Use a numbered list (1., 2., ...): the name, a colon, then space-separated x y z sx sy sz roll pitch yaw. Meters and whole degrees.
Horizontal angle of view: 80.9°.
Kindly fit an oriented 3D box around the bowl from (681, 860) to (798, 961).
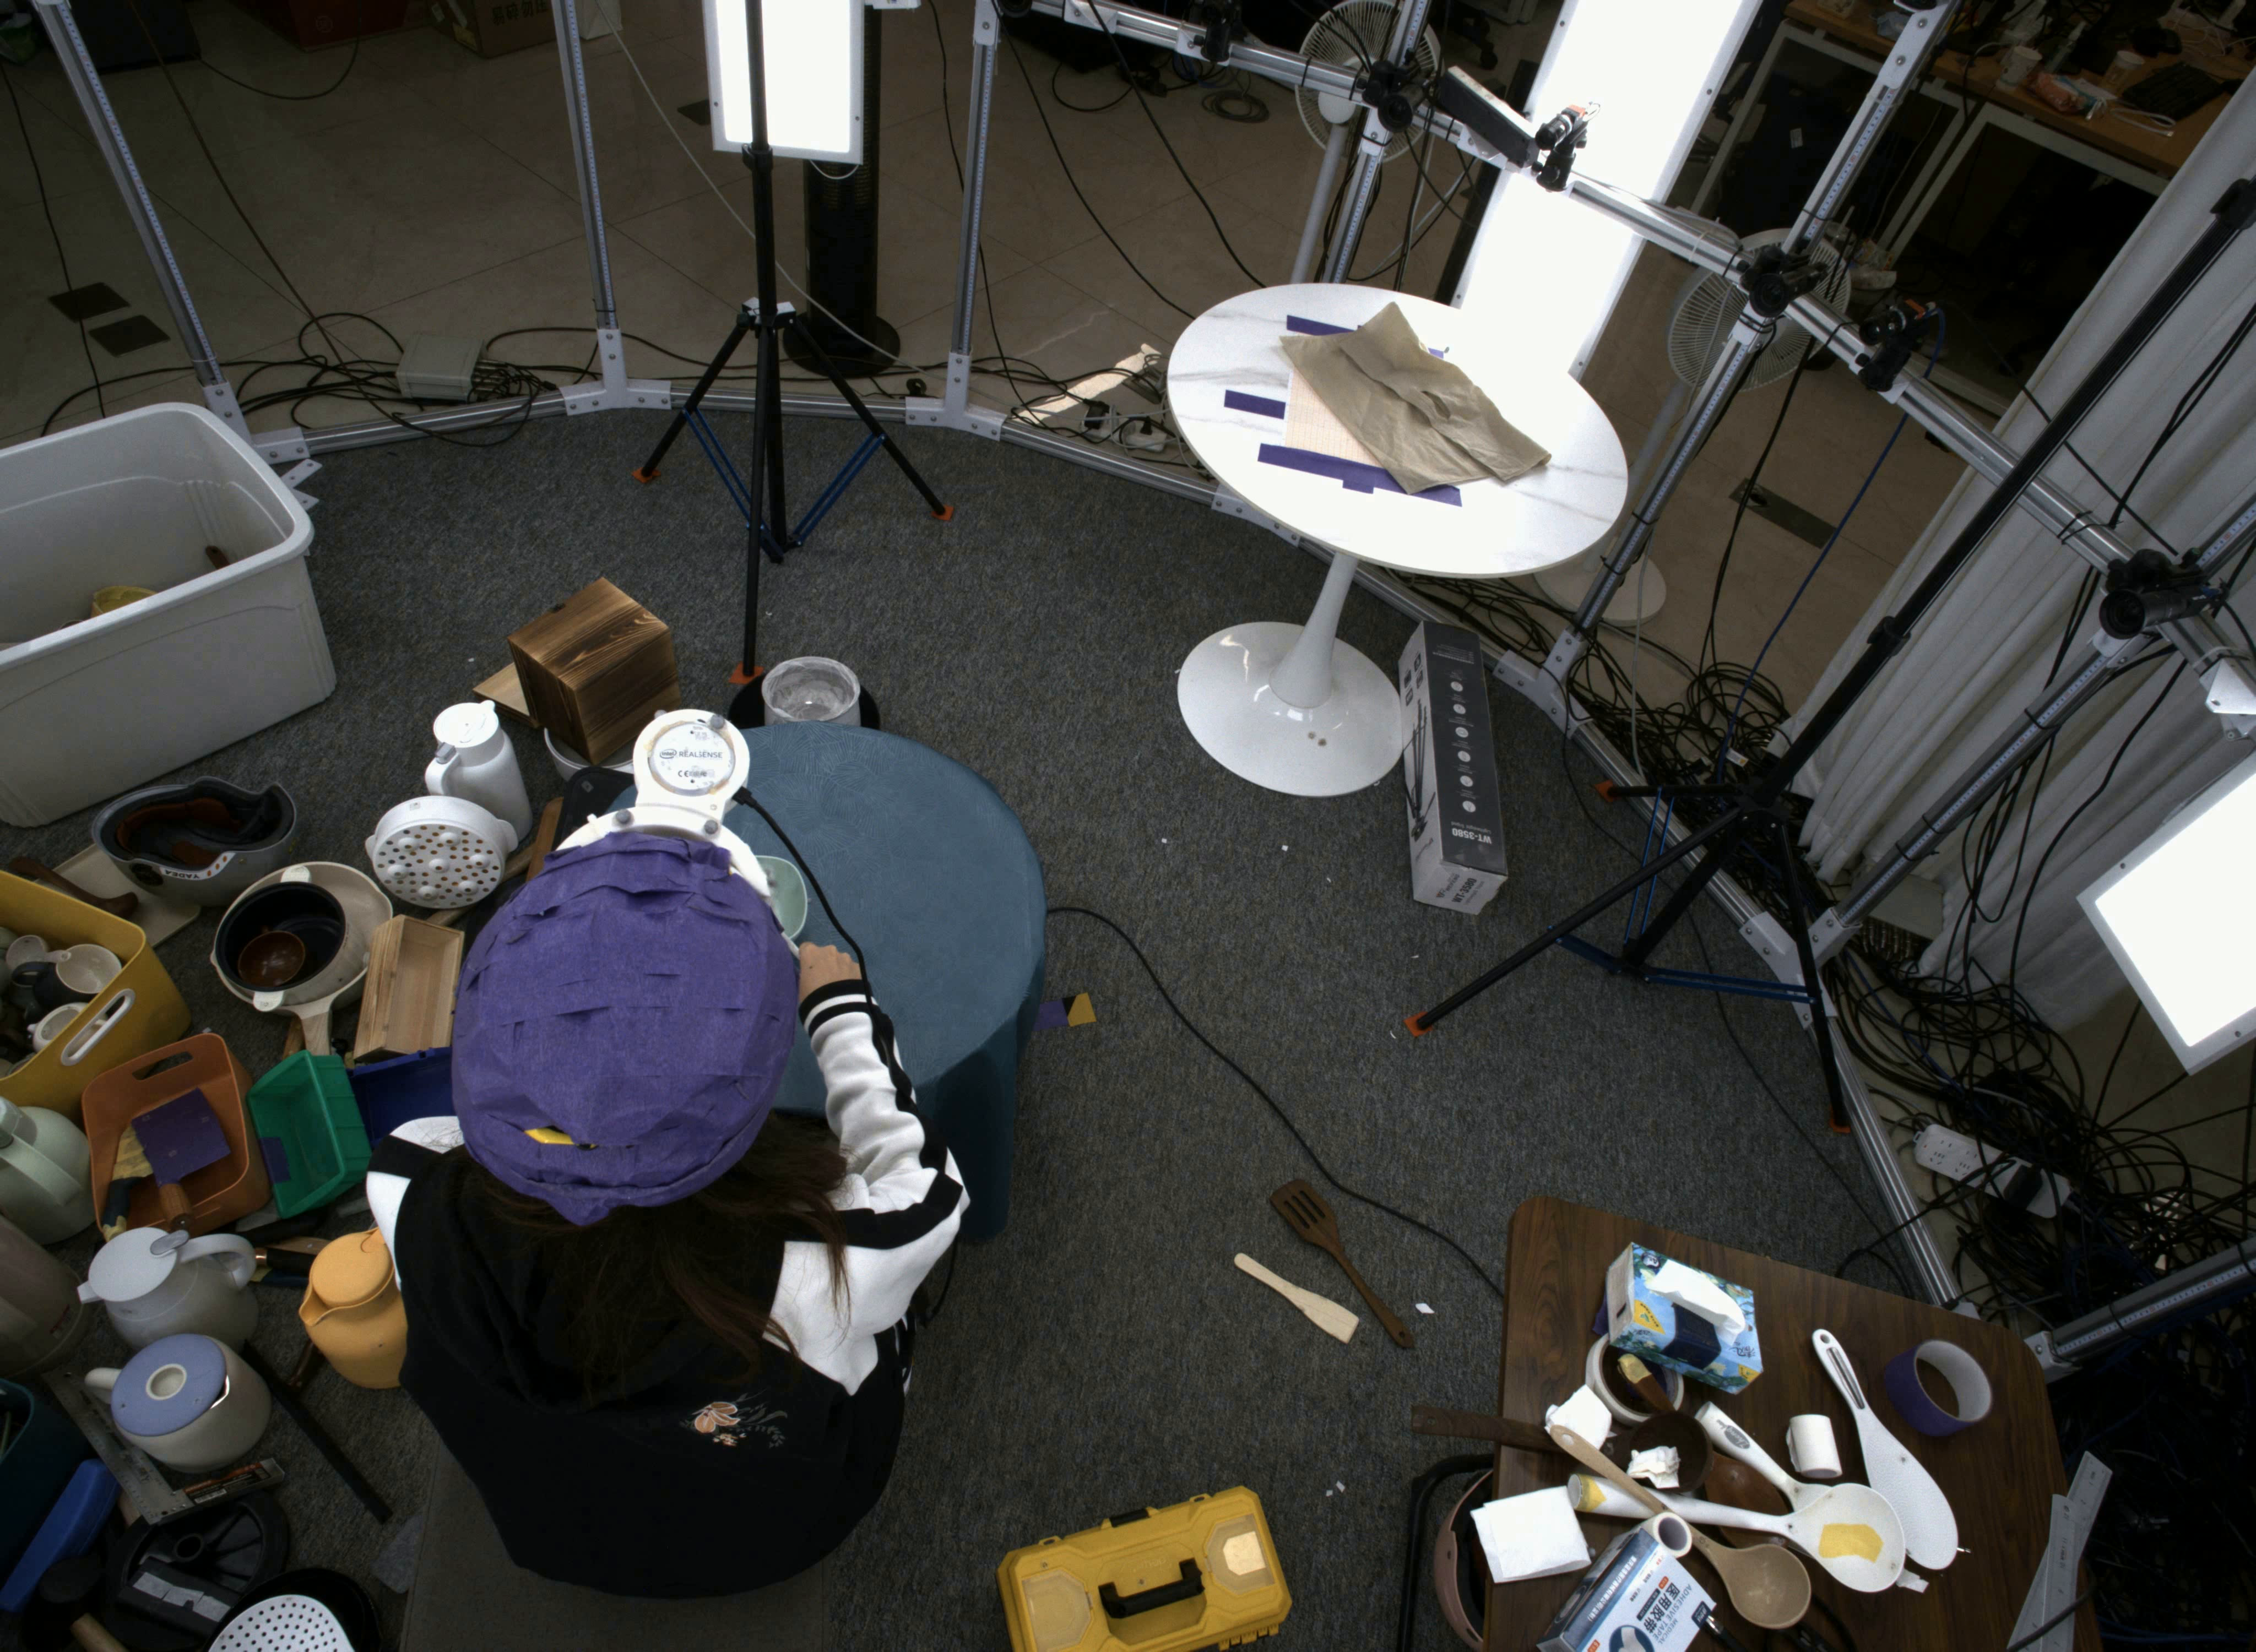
1. bowl: -0.475 0.112 1.587 0.151 0.060 0.149 8 52 -9

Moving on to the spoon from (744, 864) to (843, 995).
1. spoon: -0.378 0.119 1.494 0.060 0.104 0.266 -27 36 -34
